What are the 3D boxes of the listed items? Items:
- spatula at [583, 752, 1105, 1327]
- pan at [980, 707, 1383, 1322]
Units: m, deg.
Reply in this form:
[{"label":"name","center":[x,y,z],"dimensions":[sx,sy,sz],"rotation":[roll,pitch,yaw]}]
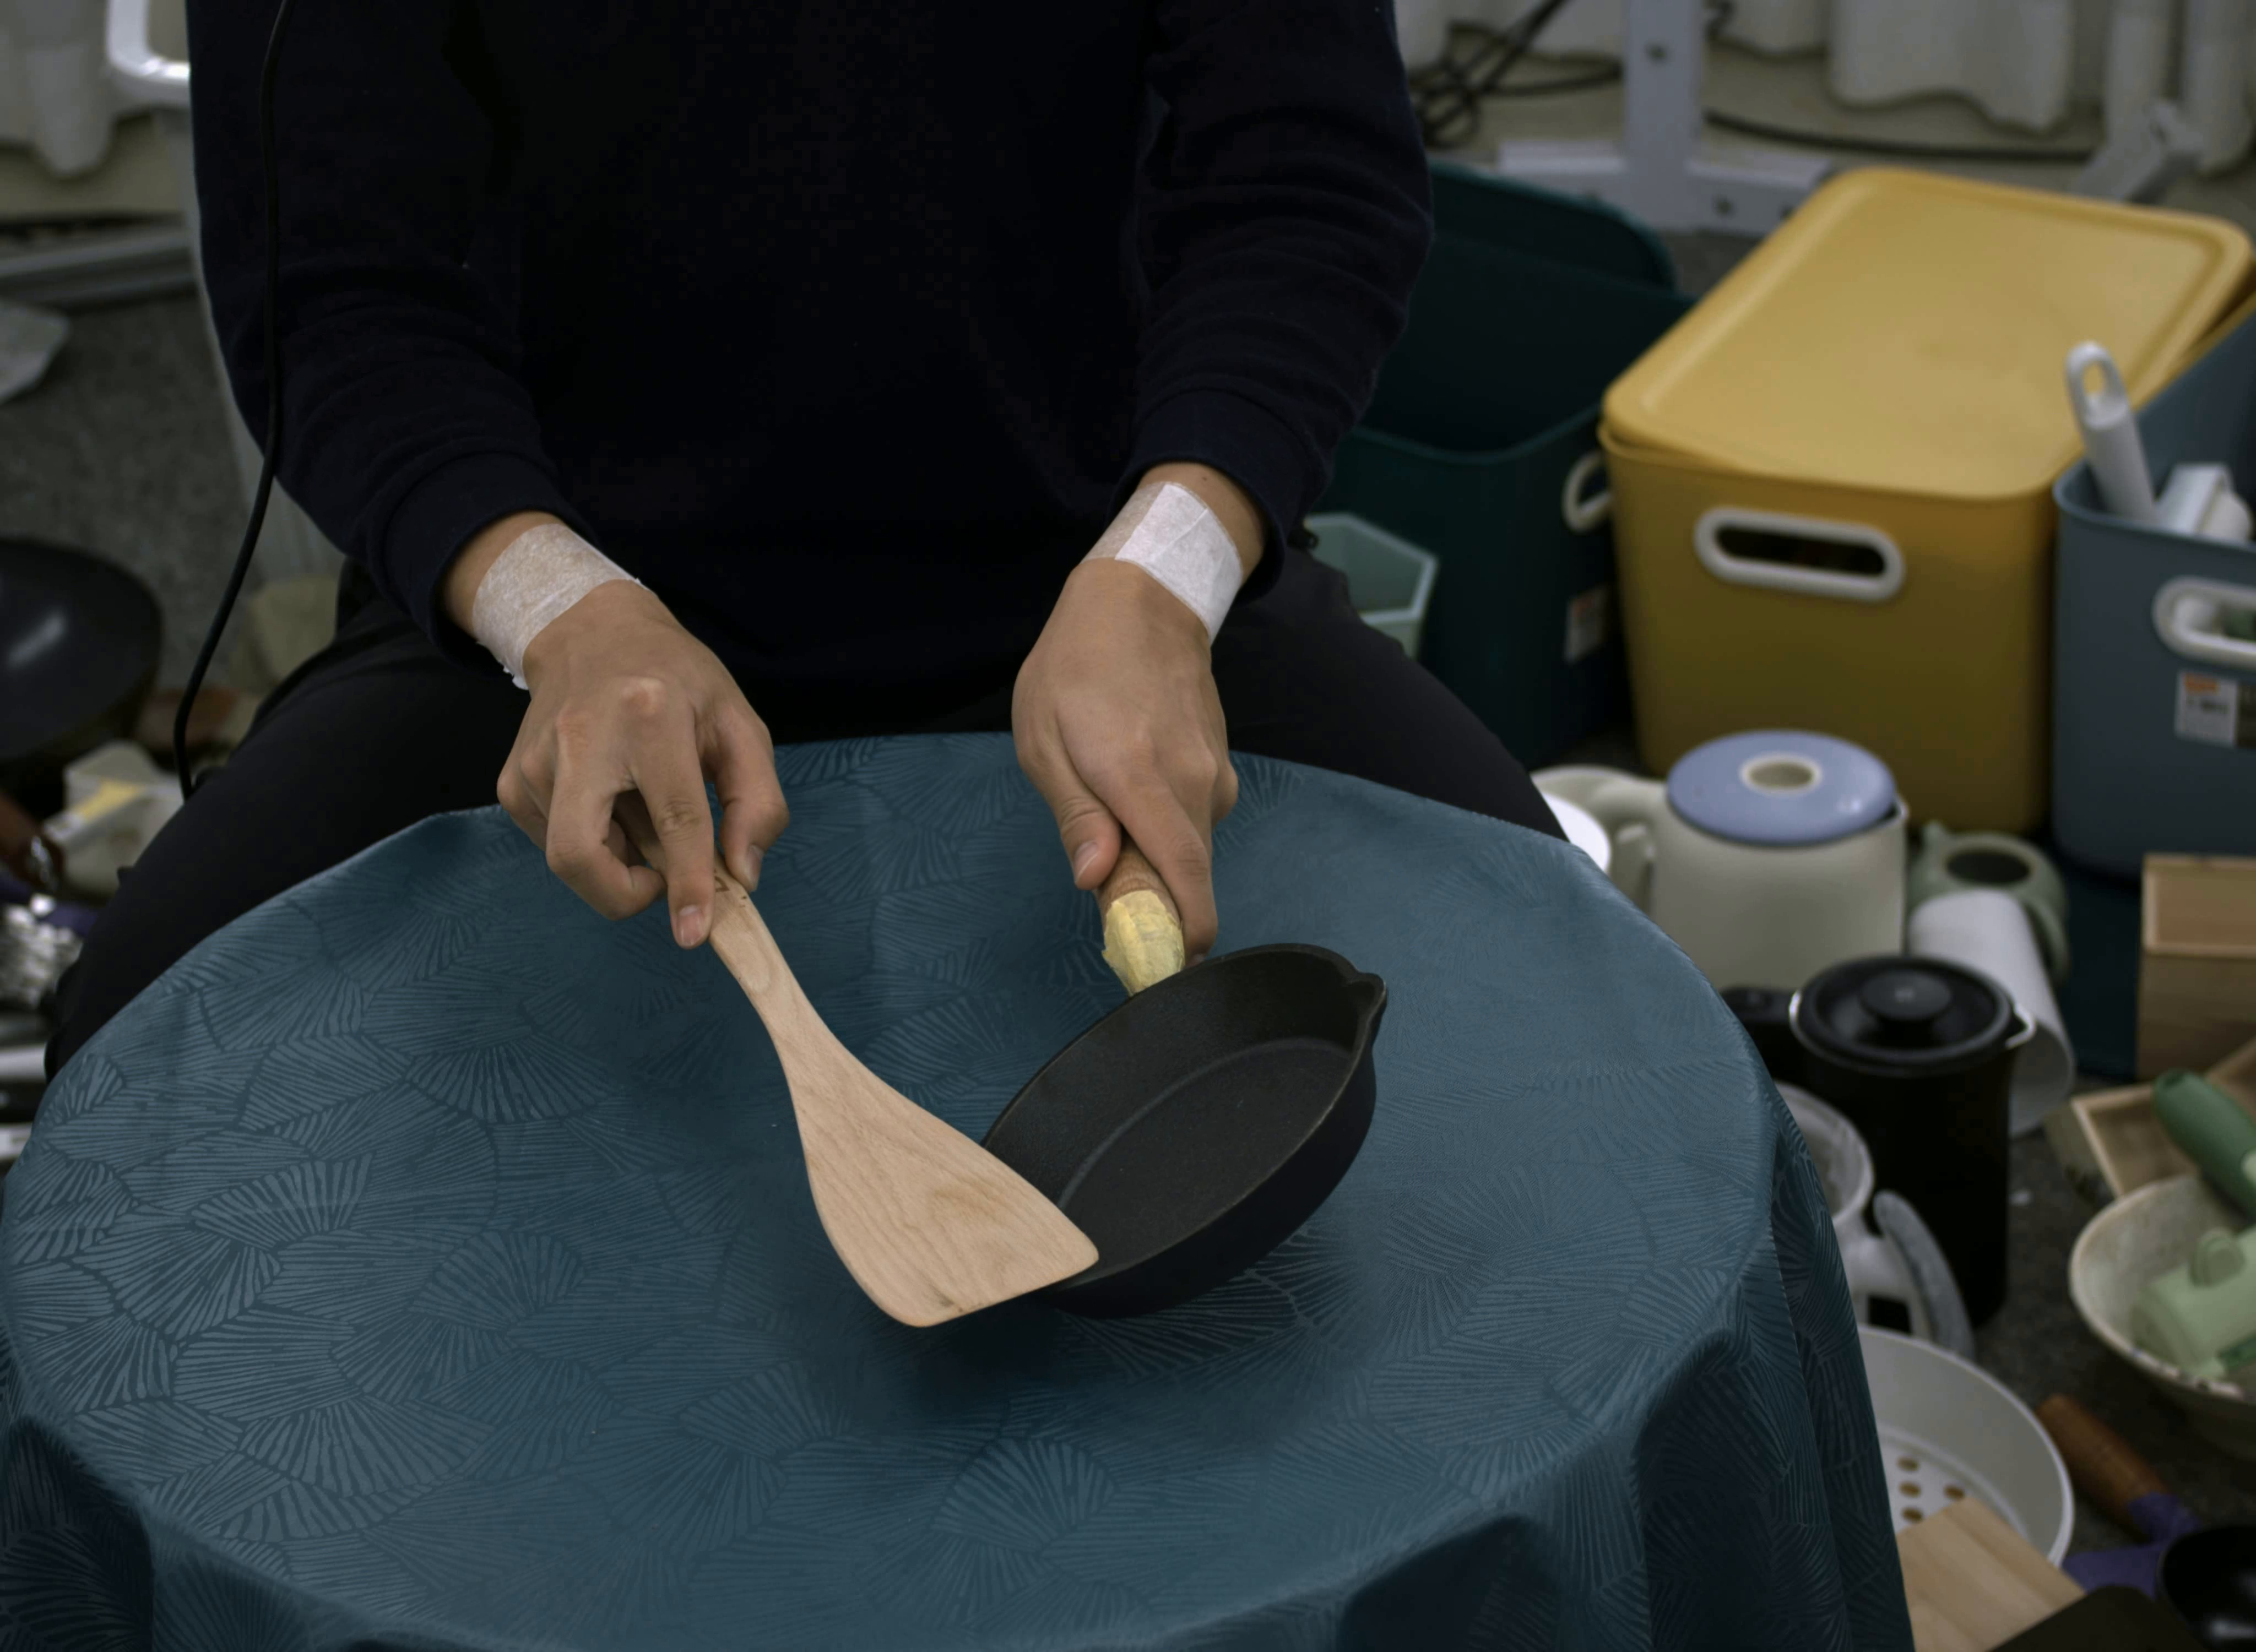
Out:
[{"label":"spatula","center":[-0.107,0.063,1.849],"dimensions":[0.080,0.016,0.331],"rotation":[-8,38,-27]},{"label":"pan","center":[0.011,0.055,1.875],"dimensions":[0.167,0.049,0.329],"rotation":[-30,27,14]}]
